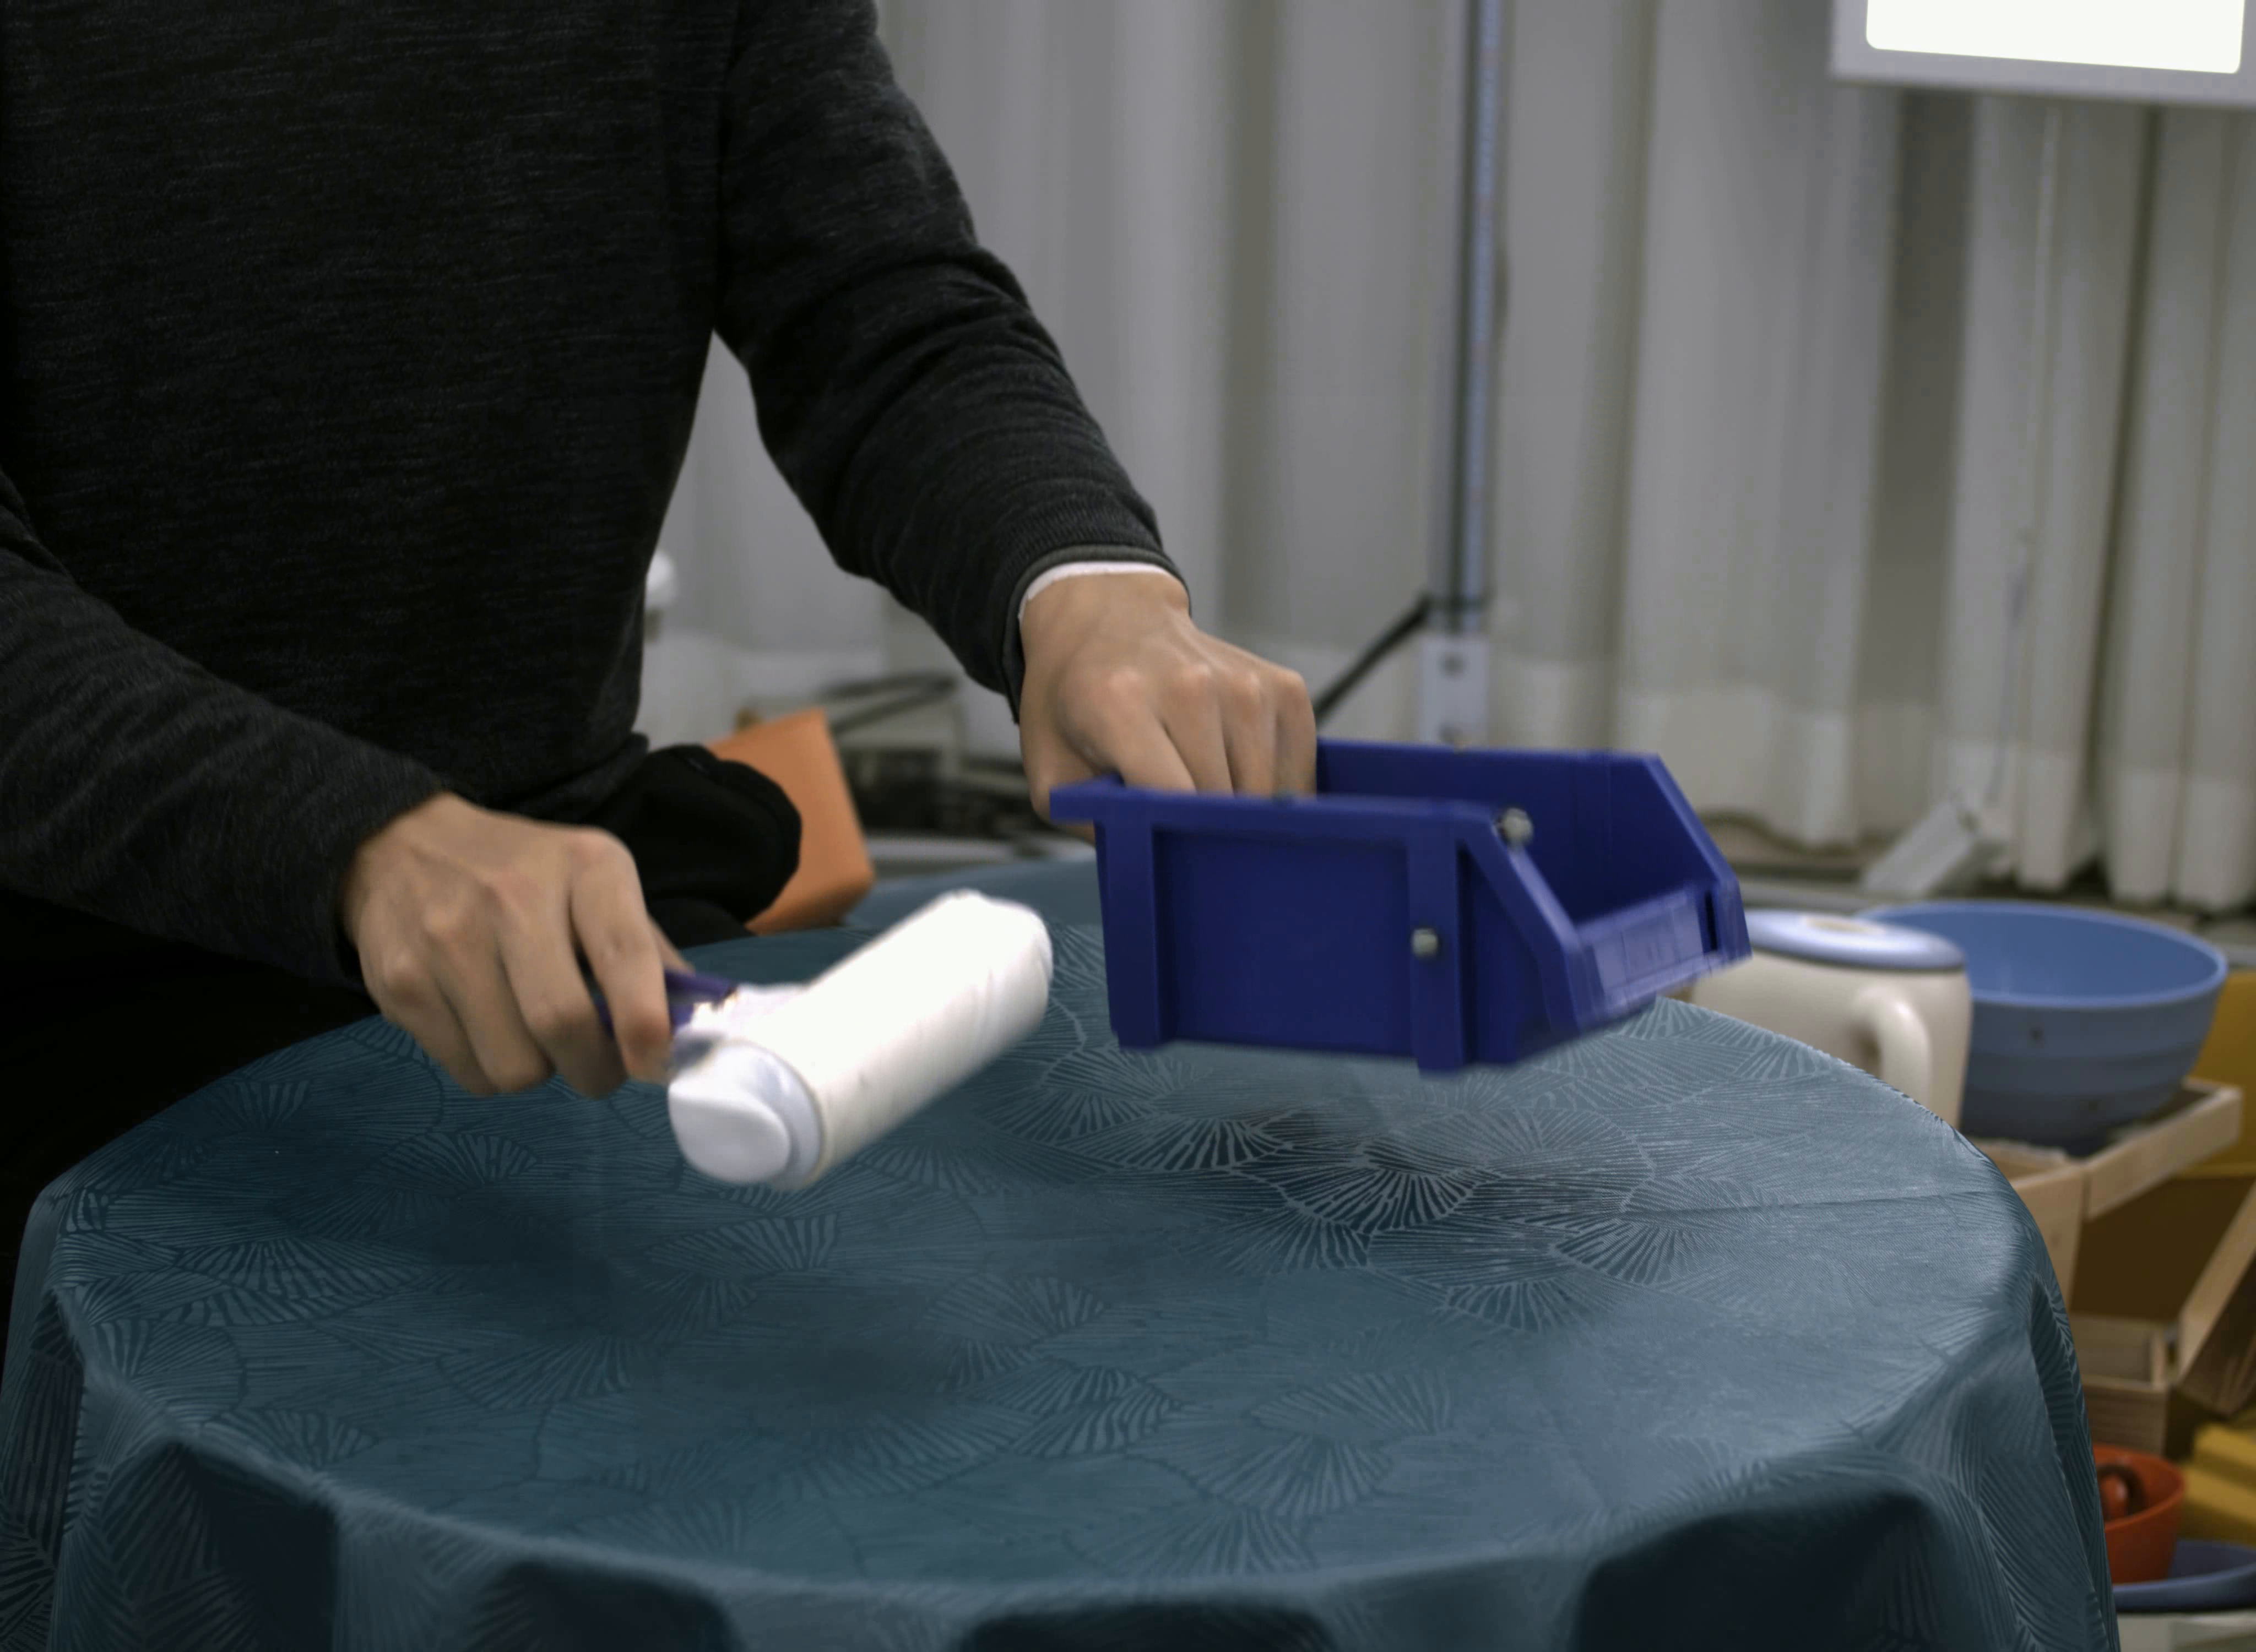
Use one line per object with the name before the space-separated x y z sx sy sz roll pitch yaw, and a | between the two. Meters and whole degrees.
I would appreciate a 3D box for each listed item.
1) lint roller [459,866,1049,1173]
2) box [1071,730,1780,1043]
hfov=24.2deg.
lint roller | -0.122 0.039 1.491 0.178 0.051 0.133 16 35 35
box | 0.092 0.017 1.608 0.177 0.082 0.125 -1 6 33
